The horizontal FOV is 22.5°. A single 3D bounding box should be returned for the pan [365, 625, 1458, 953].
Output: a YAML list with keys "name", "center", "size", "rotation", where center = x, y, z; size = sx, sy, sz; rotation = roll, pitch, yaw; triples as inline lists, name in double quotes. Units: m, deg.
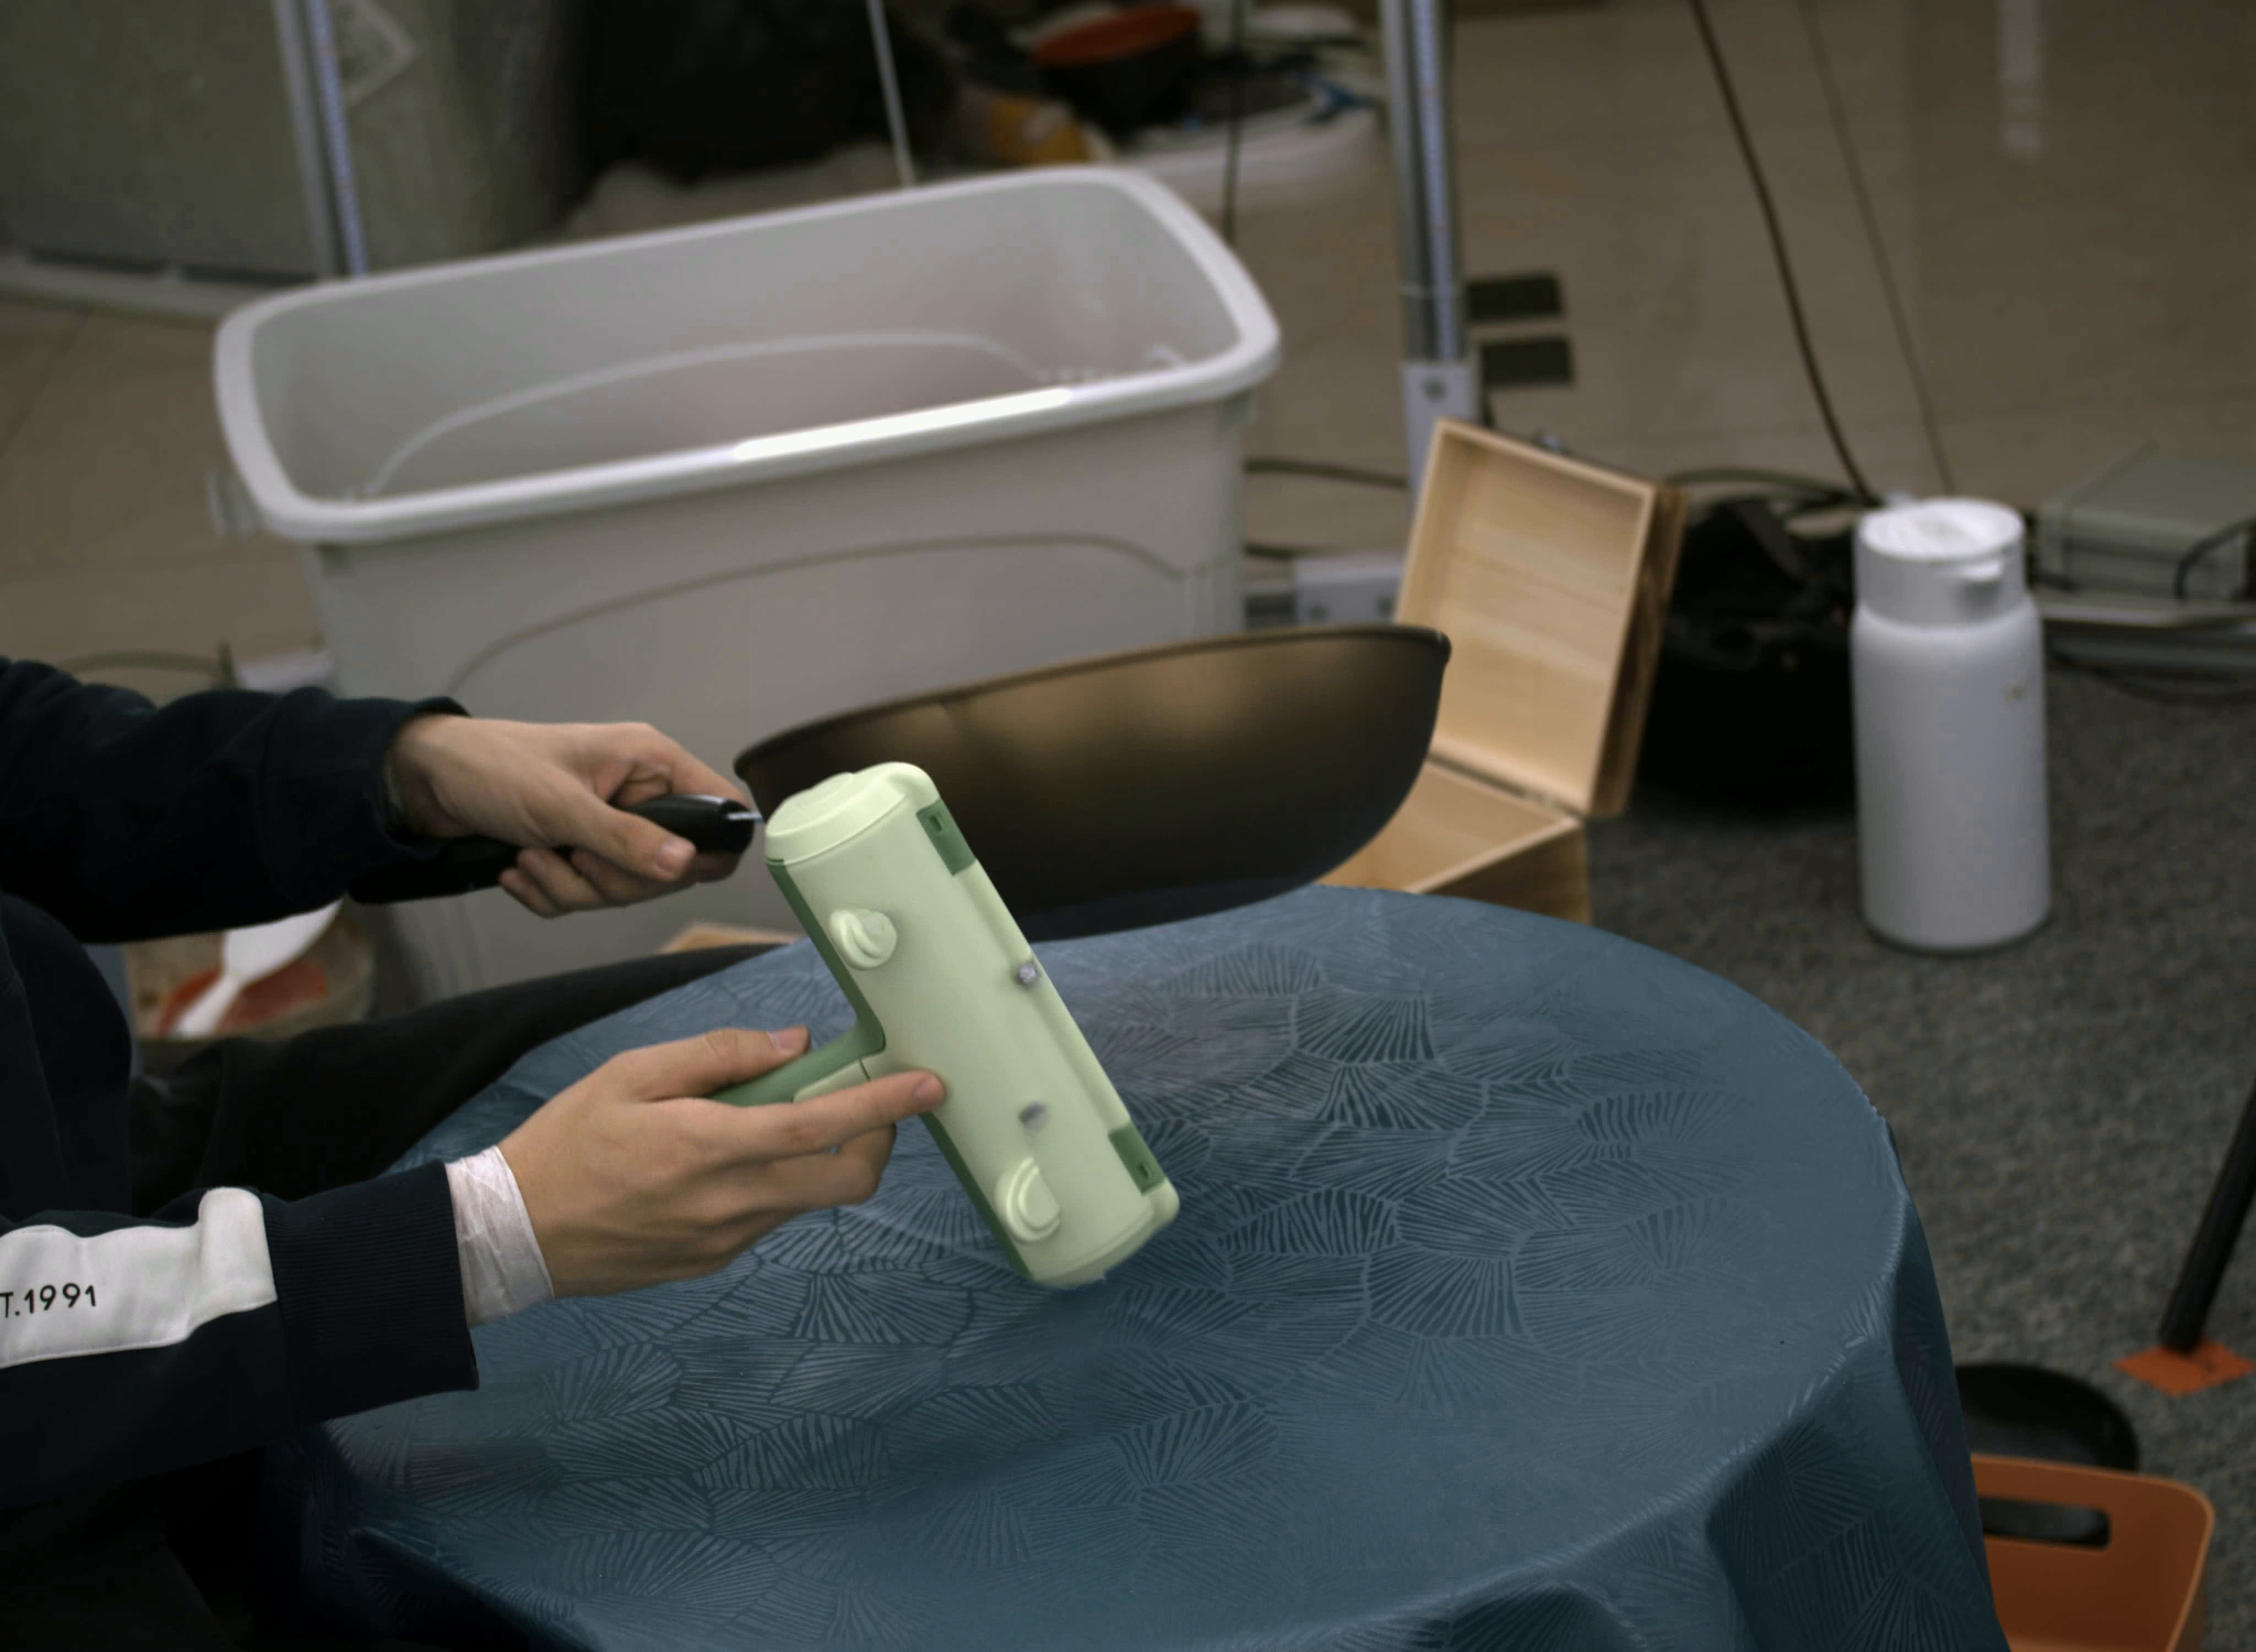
- name: "pan"
  center: [-0.088, 0.013, 2.182]
  size: [0.464, 0.087, 0.288]
  rotation: [-13, -6, 20]

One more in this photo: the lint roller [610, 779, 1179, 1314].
- name: "lint roller"
  center: [-0.103, 0.102, 1.980]
  size: [0.183, 0.201, 0.081]
  rotation: [-24, 18, 10]
